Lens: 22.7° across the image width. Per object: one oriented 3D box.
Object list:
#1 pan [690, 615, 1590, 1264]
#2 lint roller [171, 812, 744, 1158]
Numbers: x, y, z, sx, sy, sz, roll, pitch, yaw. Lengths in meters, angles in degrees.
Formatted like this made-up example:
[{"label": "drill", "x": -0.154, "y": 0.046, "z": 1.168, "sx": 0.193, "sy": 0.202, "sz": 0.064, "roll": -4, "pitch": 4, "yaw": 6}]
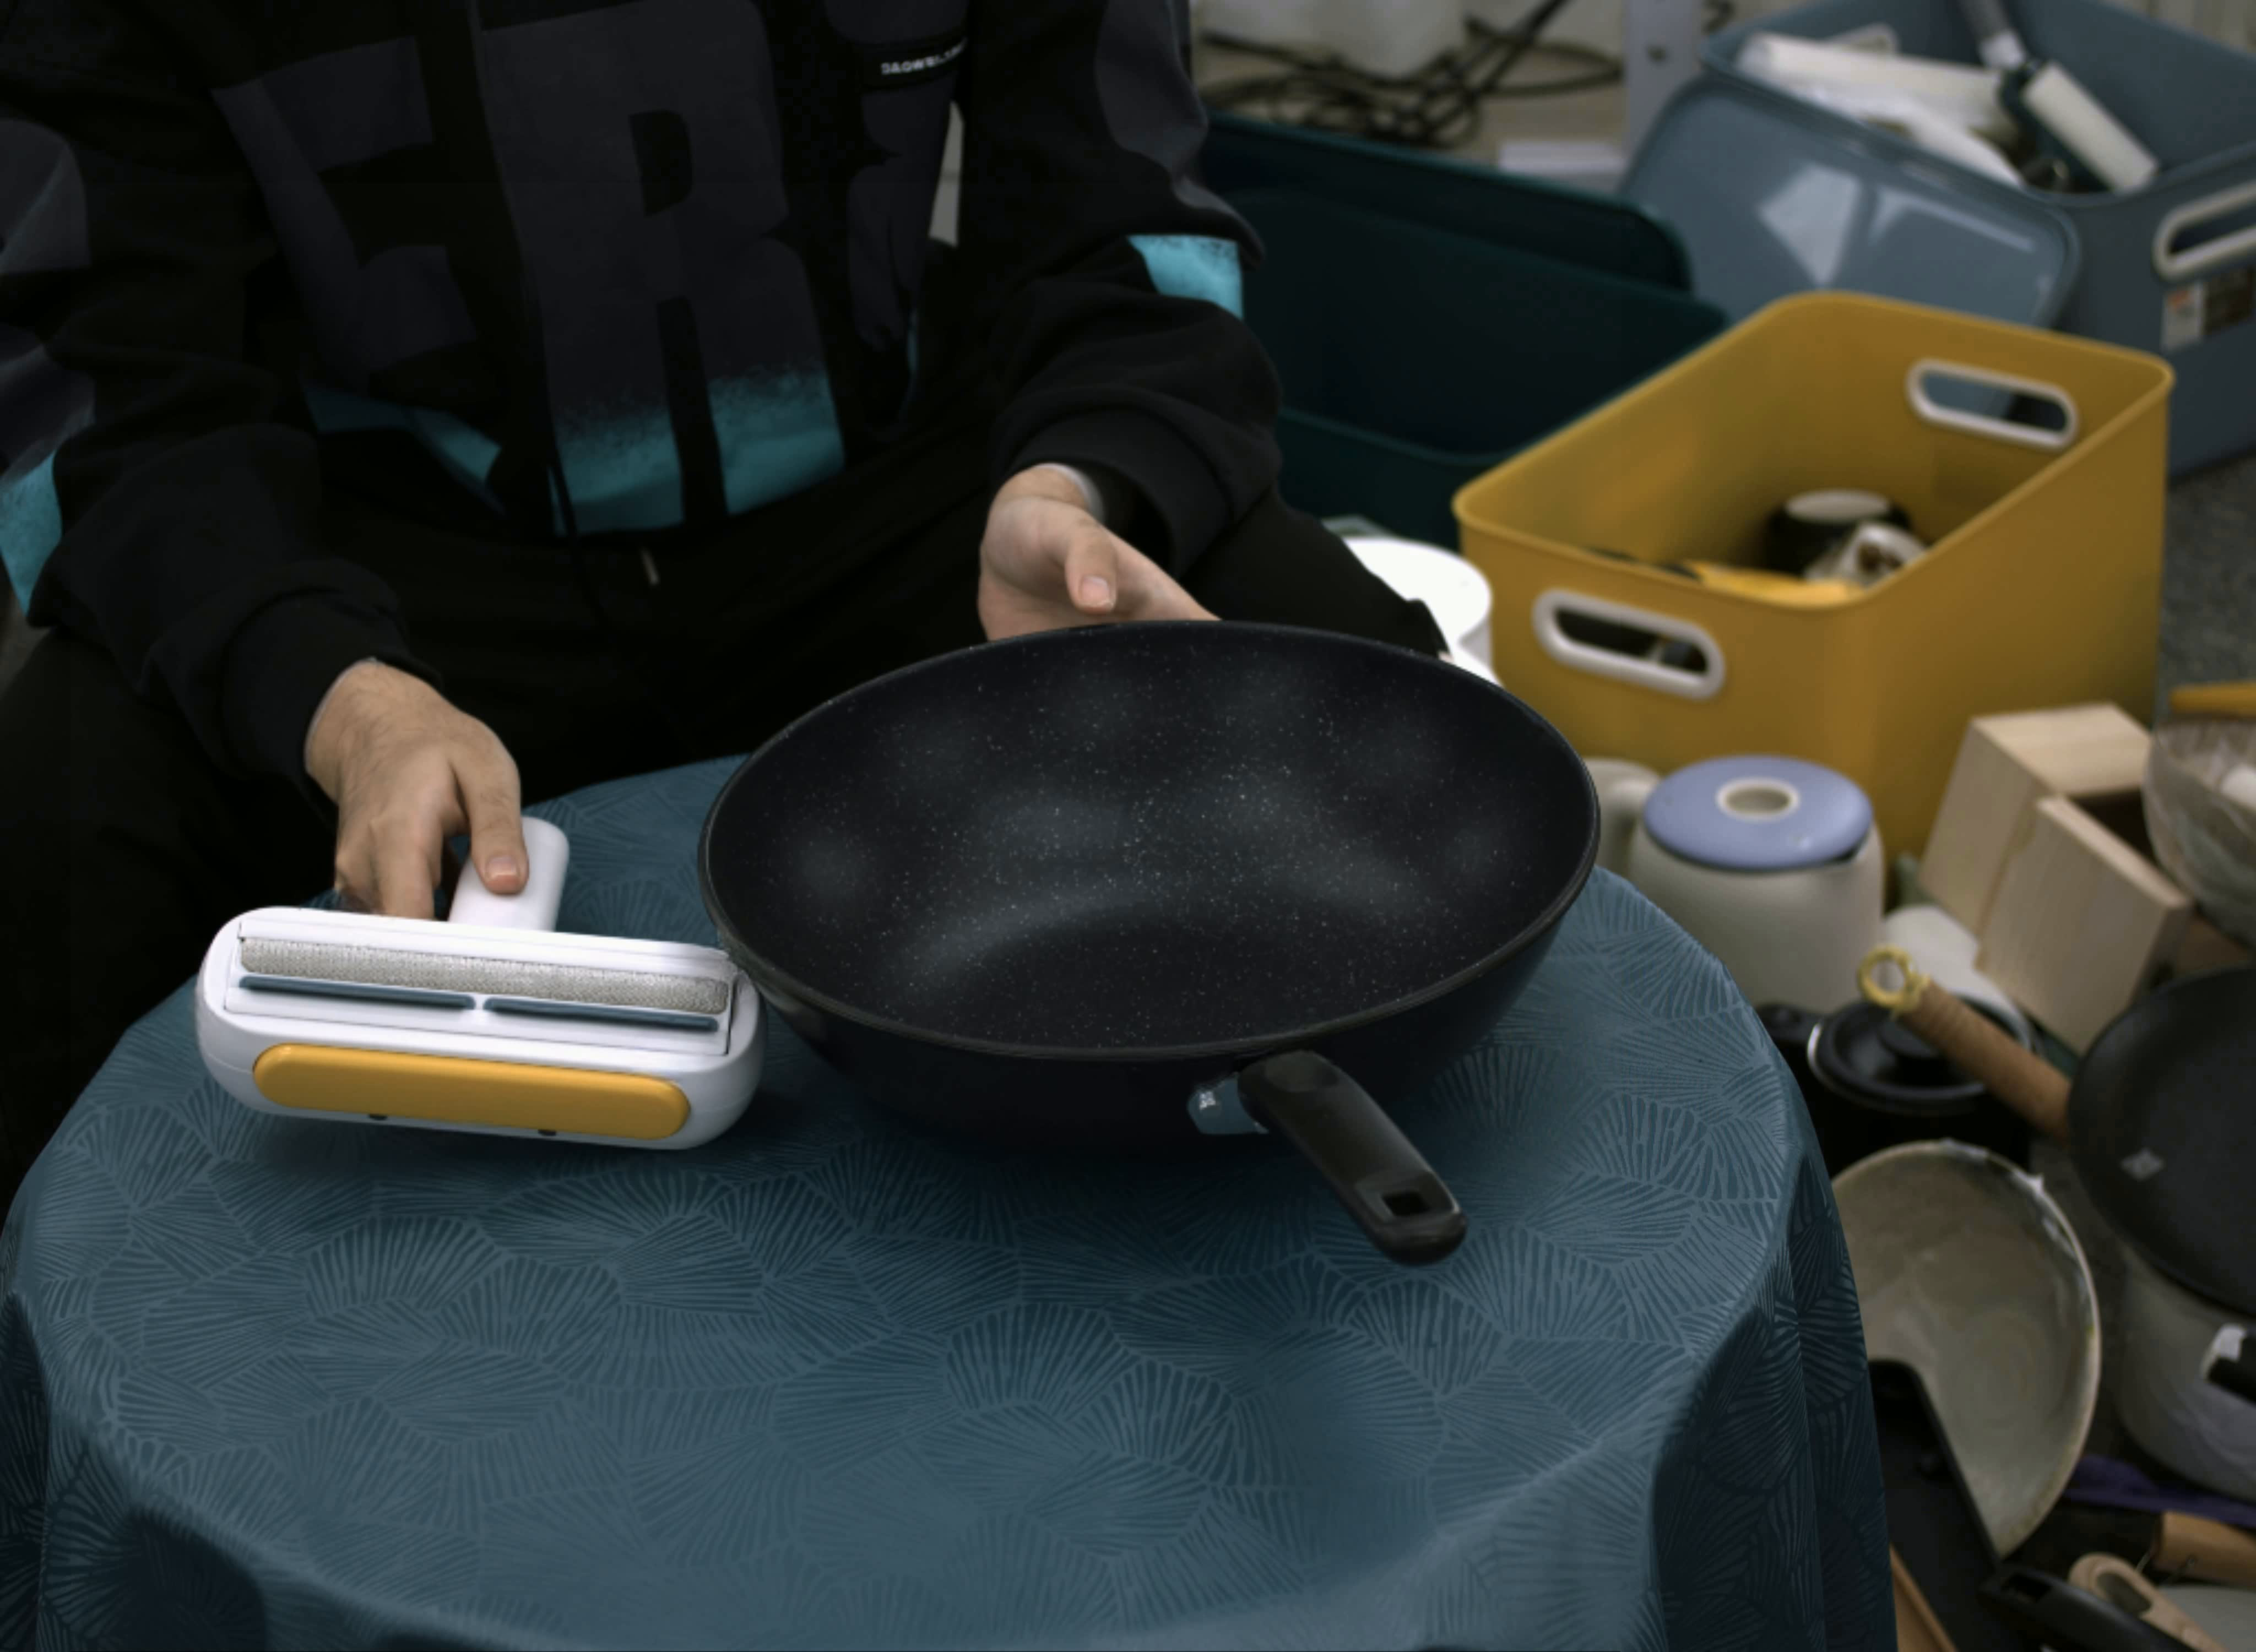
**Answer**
[{"label": "pan", "x": 0.027, "y": 0.060, "z": 1.861, "sx": 0.310, "sy": 0.110, "sz": 0.482, "roll": -11, "pitch": 28, "yaw": -11}, {"label": "lint roller", "x": -0.222, "y": 0.041, "z": 1.948, "sx": 0.192, "sy": 0.073, "sz": 0.196, "roll": 4, "pitch": 35, "yaw": 2}]
